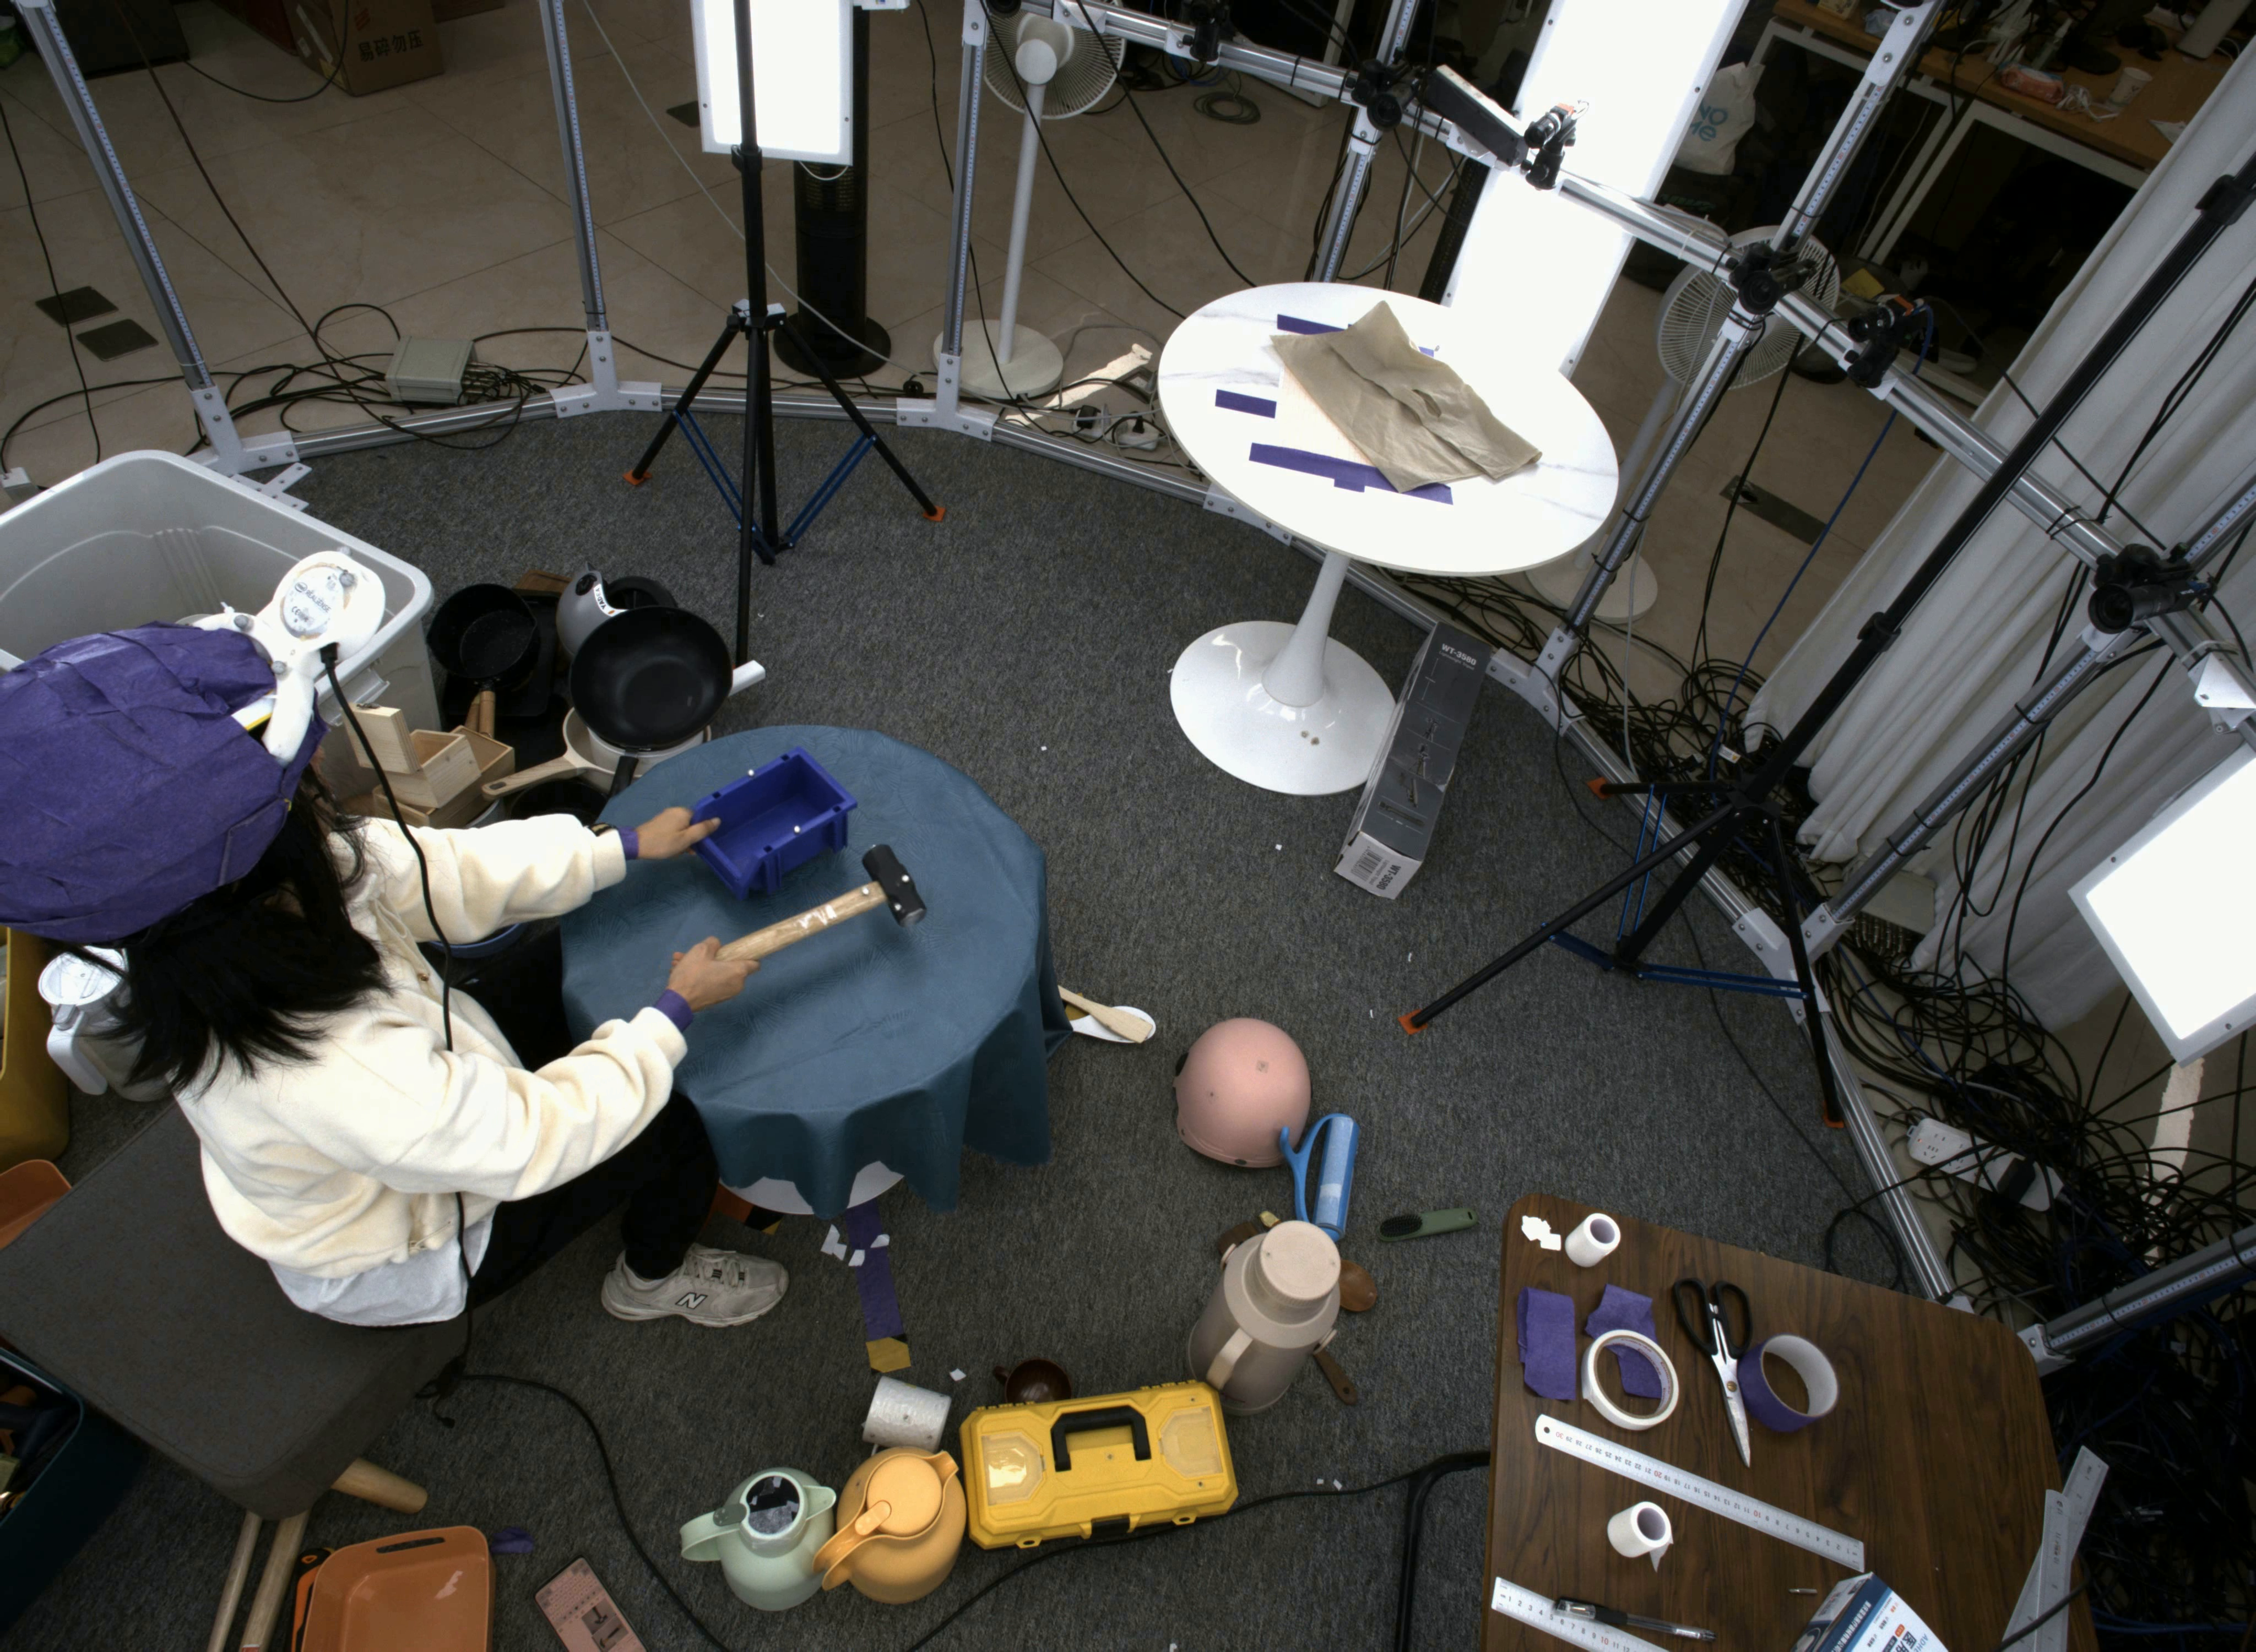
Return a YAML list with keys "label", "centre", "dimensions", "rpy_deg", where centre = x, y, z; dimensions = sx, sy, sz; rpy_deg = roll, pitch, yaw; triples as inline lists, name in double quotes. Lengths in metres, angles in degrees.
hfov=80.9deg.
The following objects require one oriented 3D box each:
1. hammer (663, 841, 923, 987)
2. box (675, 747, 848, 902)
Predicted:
- label: "hammer"
  centre: [-0.400, 0.115, 1.537]
  dimensions: [0.307, 0.039, 0.105]
  rpy_deg: [-23, 71, -29]
- label: "box"
  centre: [-0.459, 0.001, 1.624]
  dimensions: [0.121, 0.083, 0.180]
  rpy_deg: [42, 52, 19]
